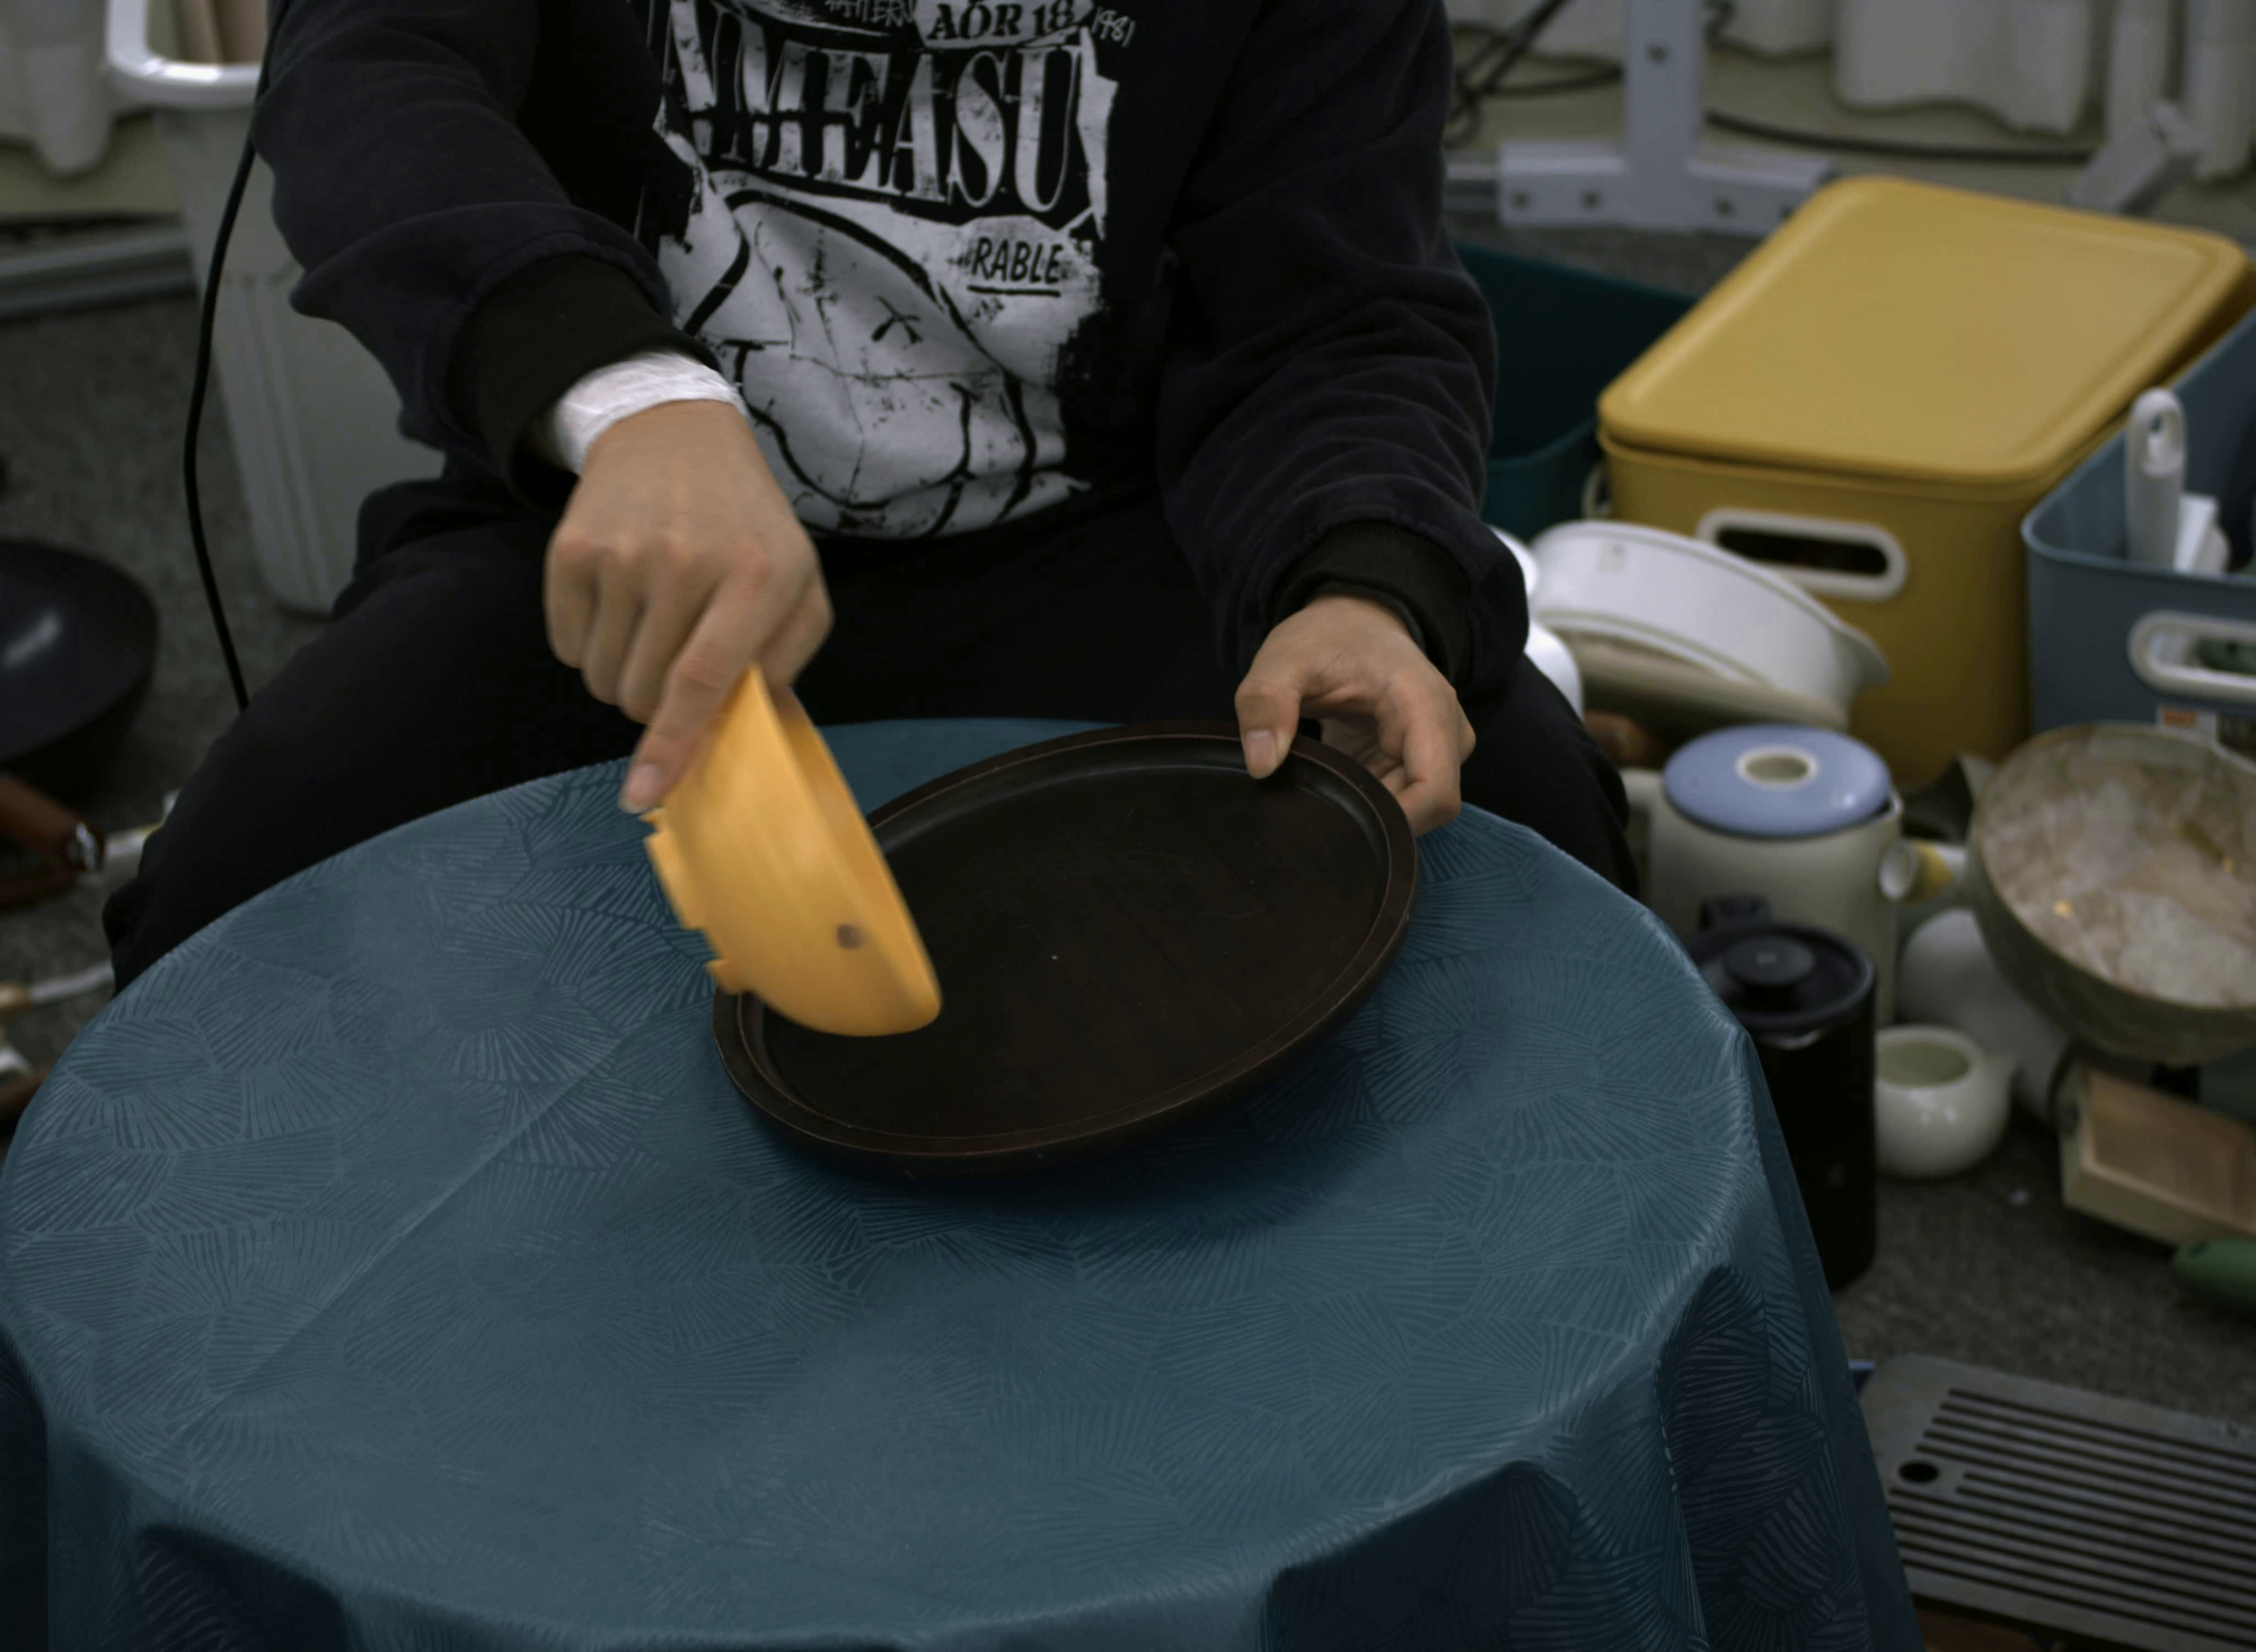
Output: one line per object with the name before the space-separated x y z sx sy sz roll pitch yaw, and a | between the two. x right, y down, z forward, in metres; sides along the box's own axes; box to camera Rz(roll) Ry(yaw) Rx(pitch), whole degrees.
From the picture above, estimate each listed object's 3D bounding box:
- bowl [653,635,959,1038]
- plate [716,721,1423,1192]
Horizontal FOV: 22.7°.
bowl | -0.114 0.015 1.836 0.060 0.144 0.147 -28 30 -1
plate | -0.019 0.044 1.939 0.253 0.029 0.259 -14 30 8
